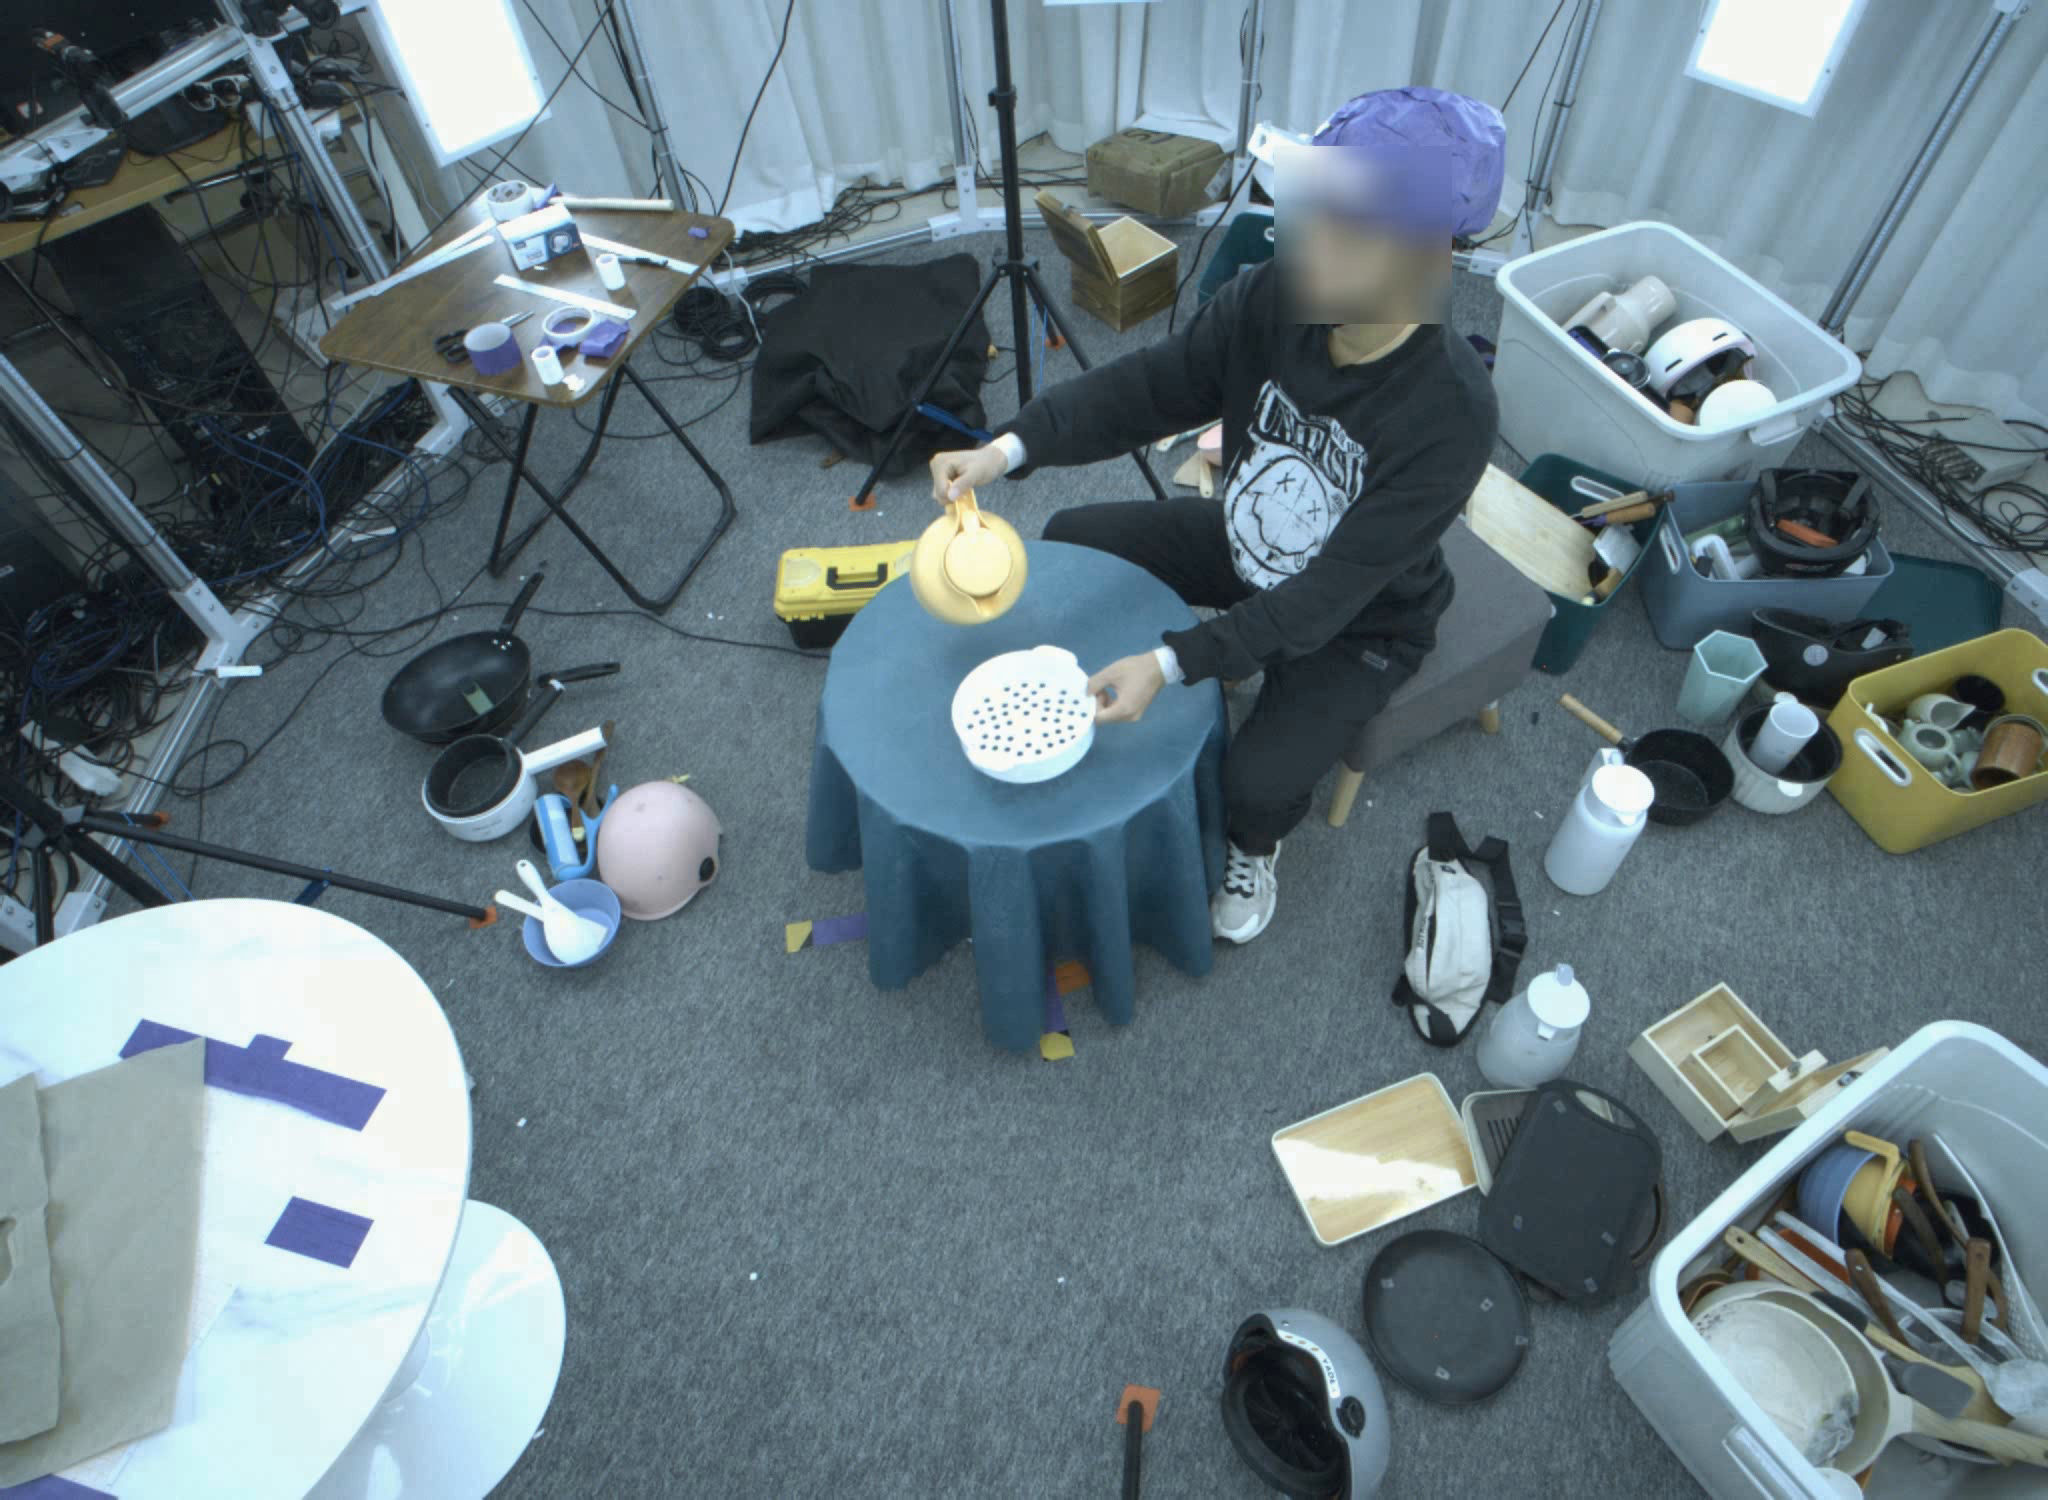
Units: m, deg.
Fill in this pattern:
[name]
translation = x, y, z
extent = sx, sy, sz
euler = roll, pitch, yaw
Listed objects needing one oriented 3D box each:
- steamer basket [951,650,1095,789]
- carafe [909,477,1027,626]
[steamer basket]
translation = 0.000, -0.038, 1.731
extent = 0.199, 0.070, 0.231
euler = 19, 58, 18
[carafe]
translation = -0.079, -0.276, 1.718
extent = 0.164, 0.258, 0.203
euler = -10, 97, -8
